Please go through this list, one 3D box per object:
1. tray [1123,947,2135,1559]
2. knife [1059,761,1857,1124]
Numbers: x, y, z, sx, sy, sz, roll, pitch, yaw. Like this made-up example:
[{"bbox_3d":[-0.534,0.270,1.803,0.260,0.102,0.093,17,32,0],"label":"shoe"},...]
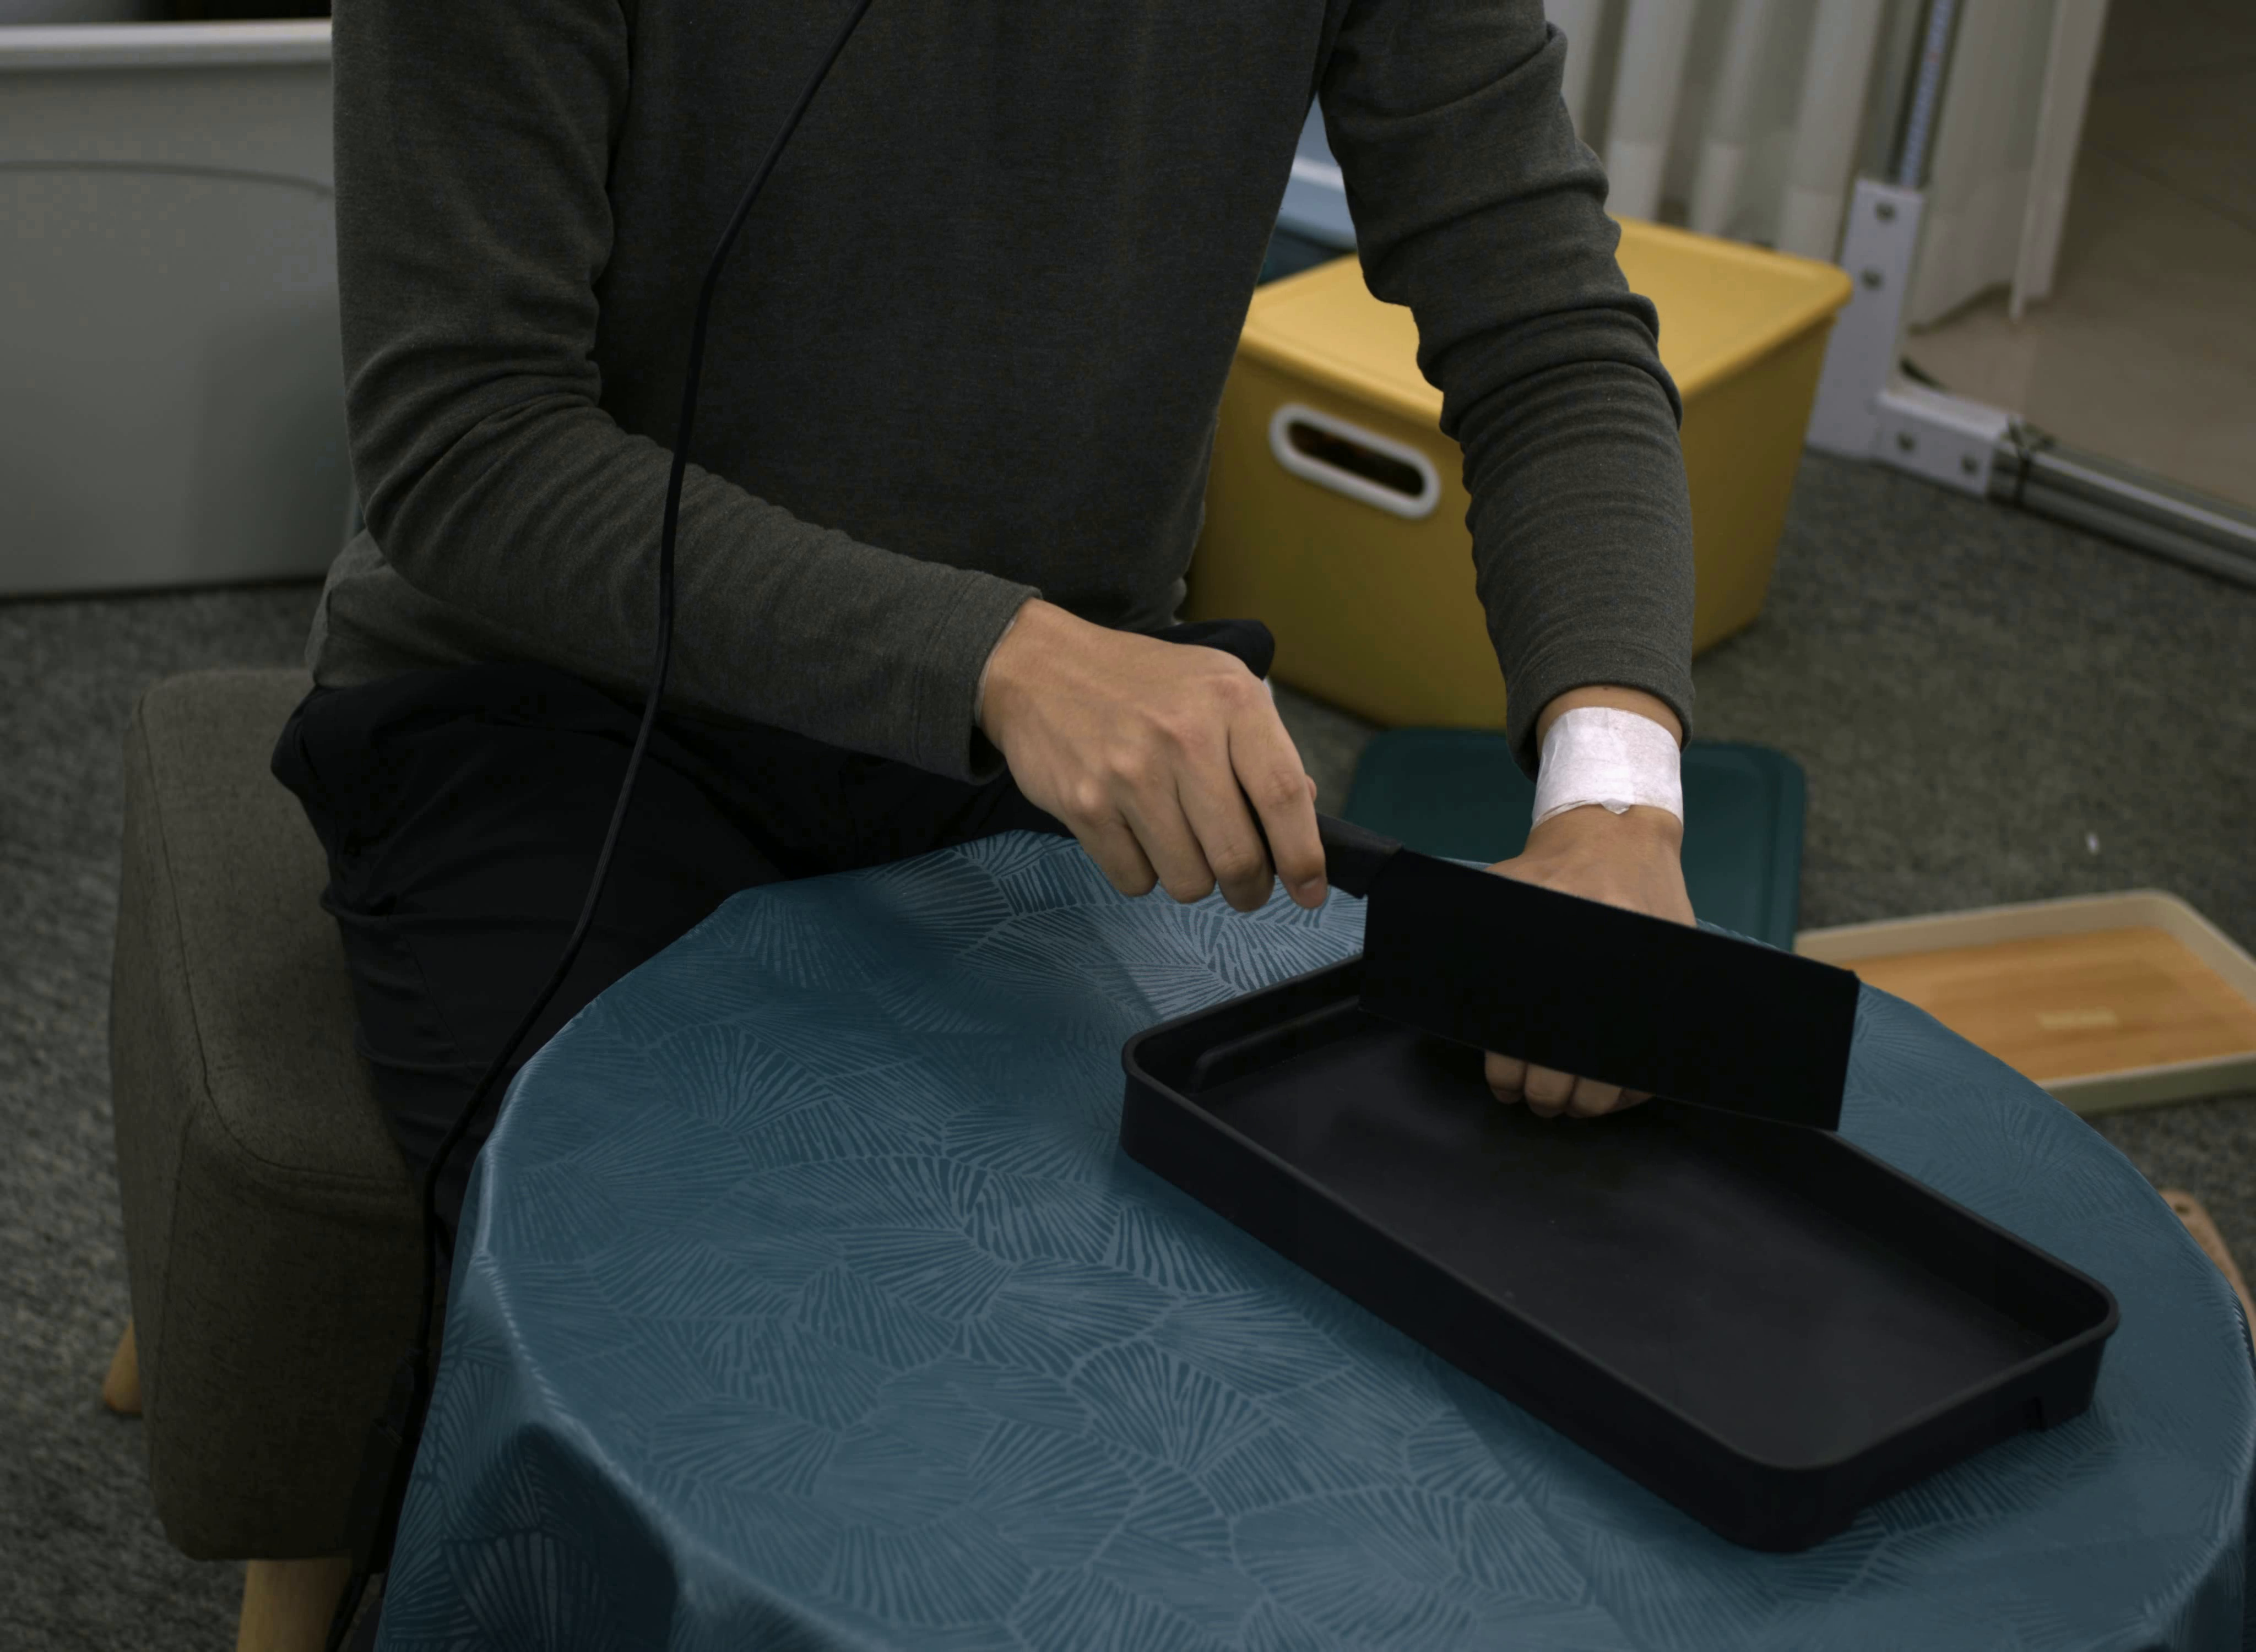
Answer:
[{"bbox_3d":[0.162,0.133,1.783,0.183,0.037,0.320,-19,36,-41],"label":"tray"},{"bbox_3d":[0.110,0.036,1.843,0.303,0.081,0.021,19,26,23],"label":"knife"}]
